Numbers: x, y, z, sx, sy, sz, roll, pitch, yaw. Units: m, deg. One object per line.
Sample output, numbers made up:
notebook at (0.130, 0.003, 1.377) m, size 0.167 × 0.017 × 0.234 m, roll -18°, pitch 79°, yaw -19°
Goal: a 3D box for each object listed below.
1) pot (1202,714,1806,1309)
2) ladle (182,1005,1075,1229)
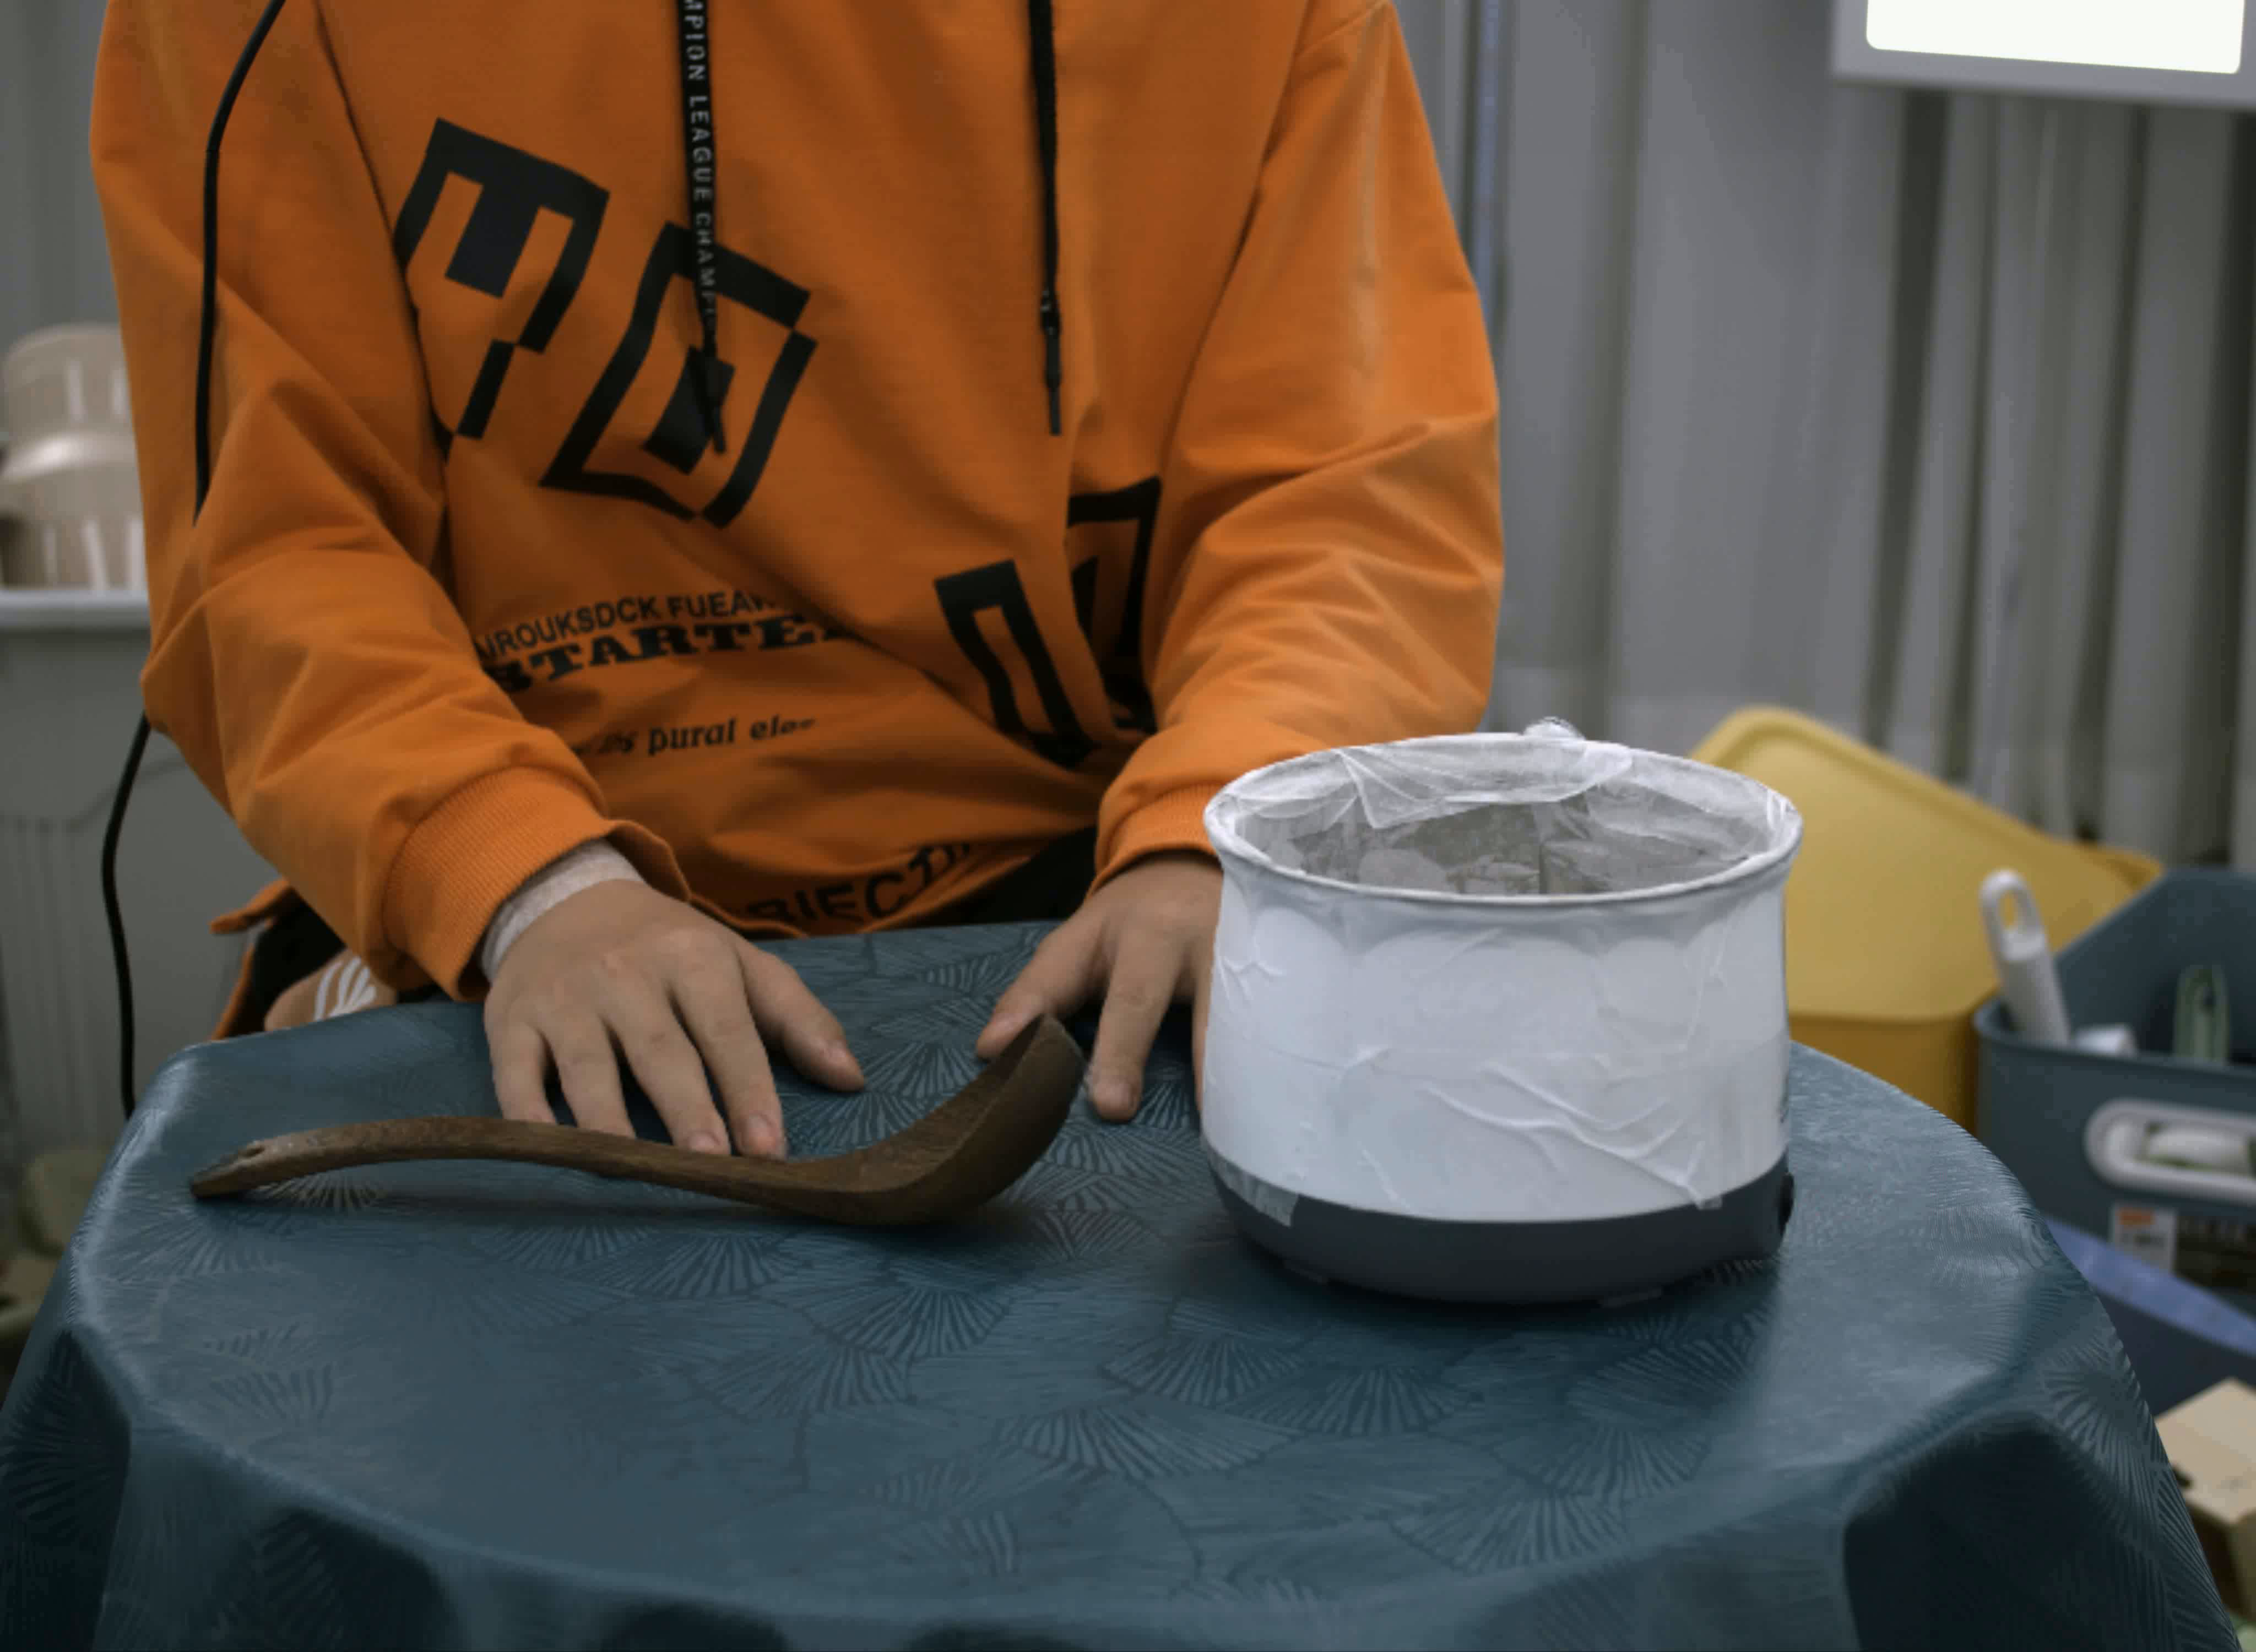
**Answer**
pot at (0.116, 0.050, 1.594) m, size 0.177 × 0.138 × 0.233 m, roll 4°, pitch 16°, yaw 10°
ladle at (-0.152, 0.083, 1.593) m, size 0.273 × 0.072 × 0.076 m, roll 3°, pitch 13°, yaw 5°
